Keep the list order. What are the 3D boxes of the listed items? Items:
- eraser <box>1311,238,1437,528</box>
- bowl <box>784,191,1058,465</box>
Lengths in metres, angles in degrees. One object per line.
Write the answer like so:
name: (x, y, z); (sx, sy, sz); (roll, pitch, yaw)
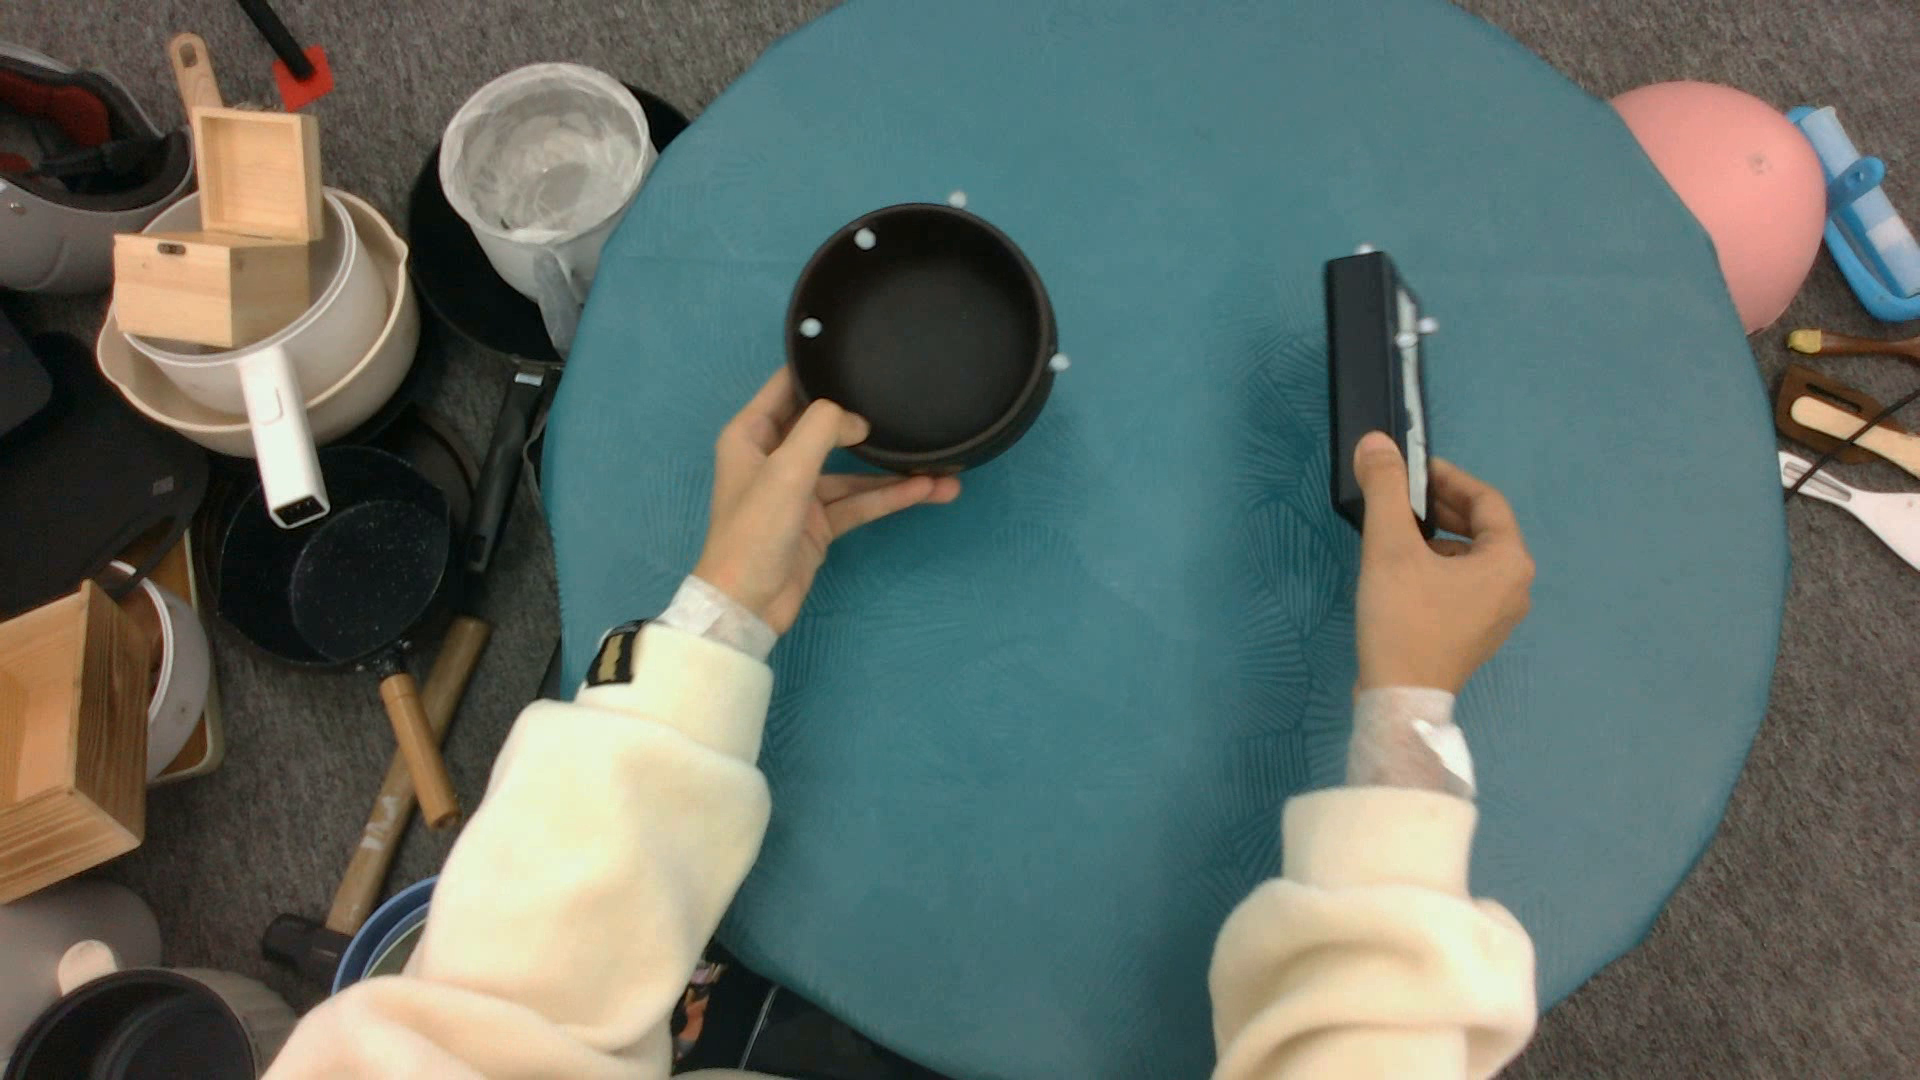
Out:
eraser: (0.188, -0.071, 0.622); (0.053, 0.030, 0.126); (29, 62, -37)
bowl: (-0.014, -0.089, 0.618); (0.118, 0.070, 0.118); (-1, 79, 7)
